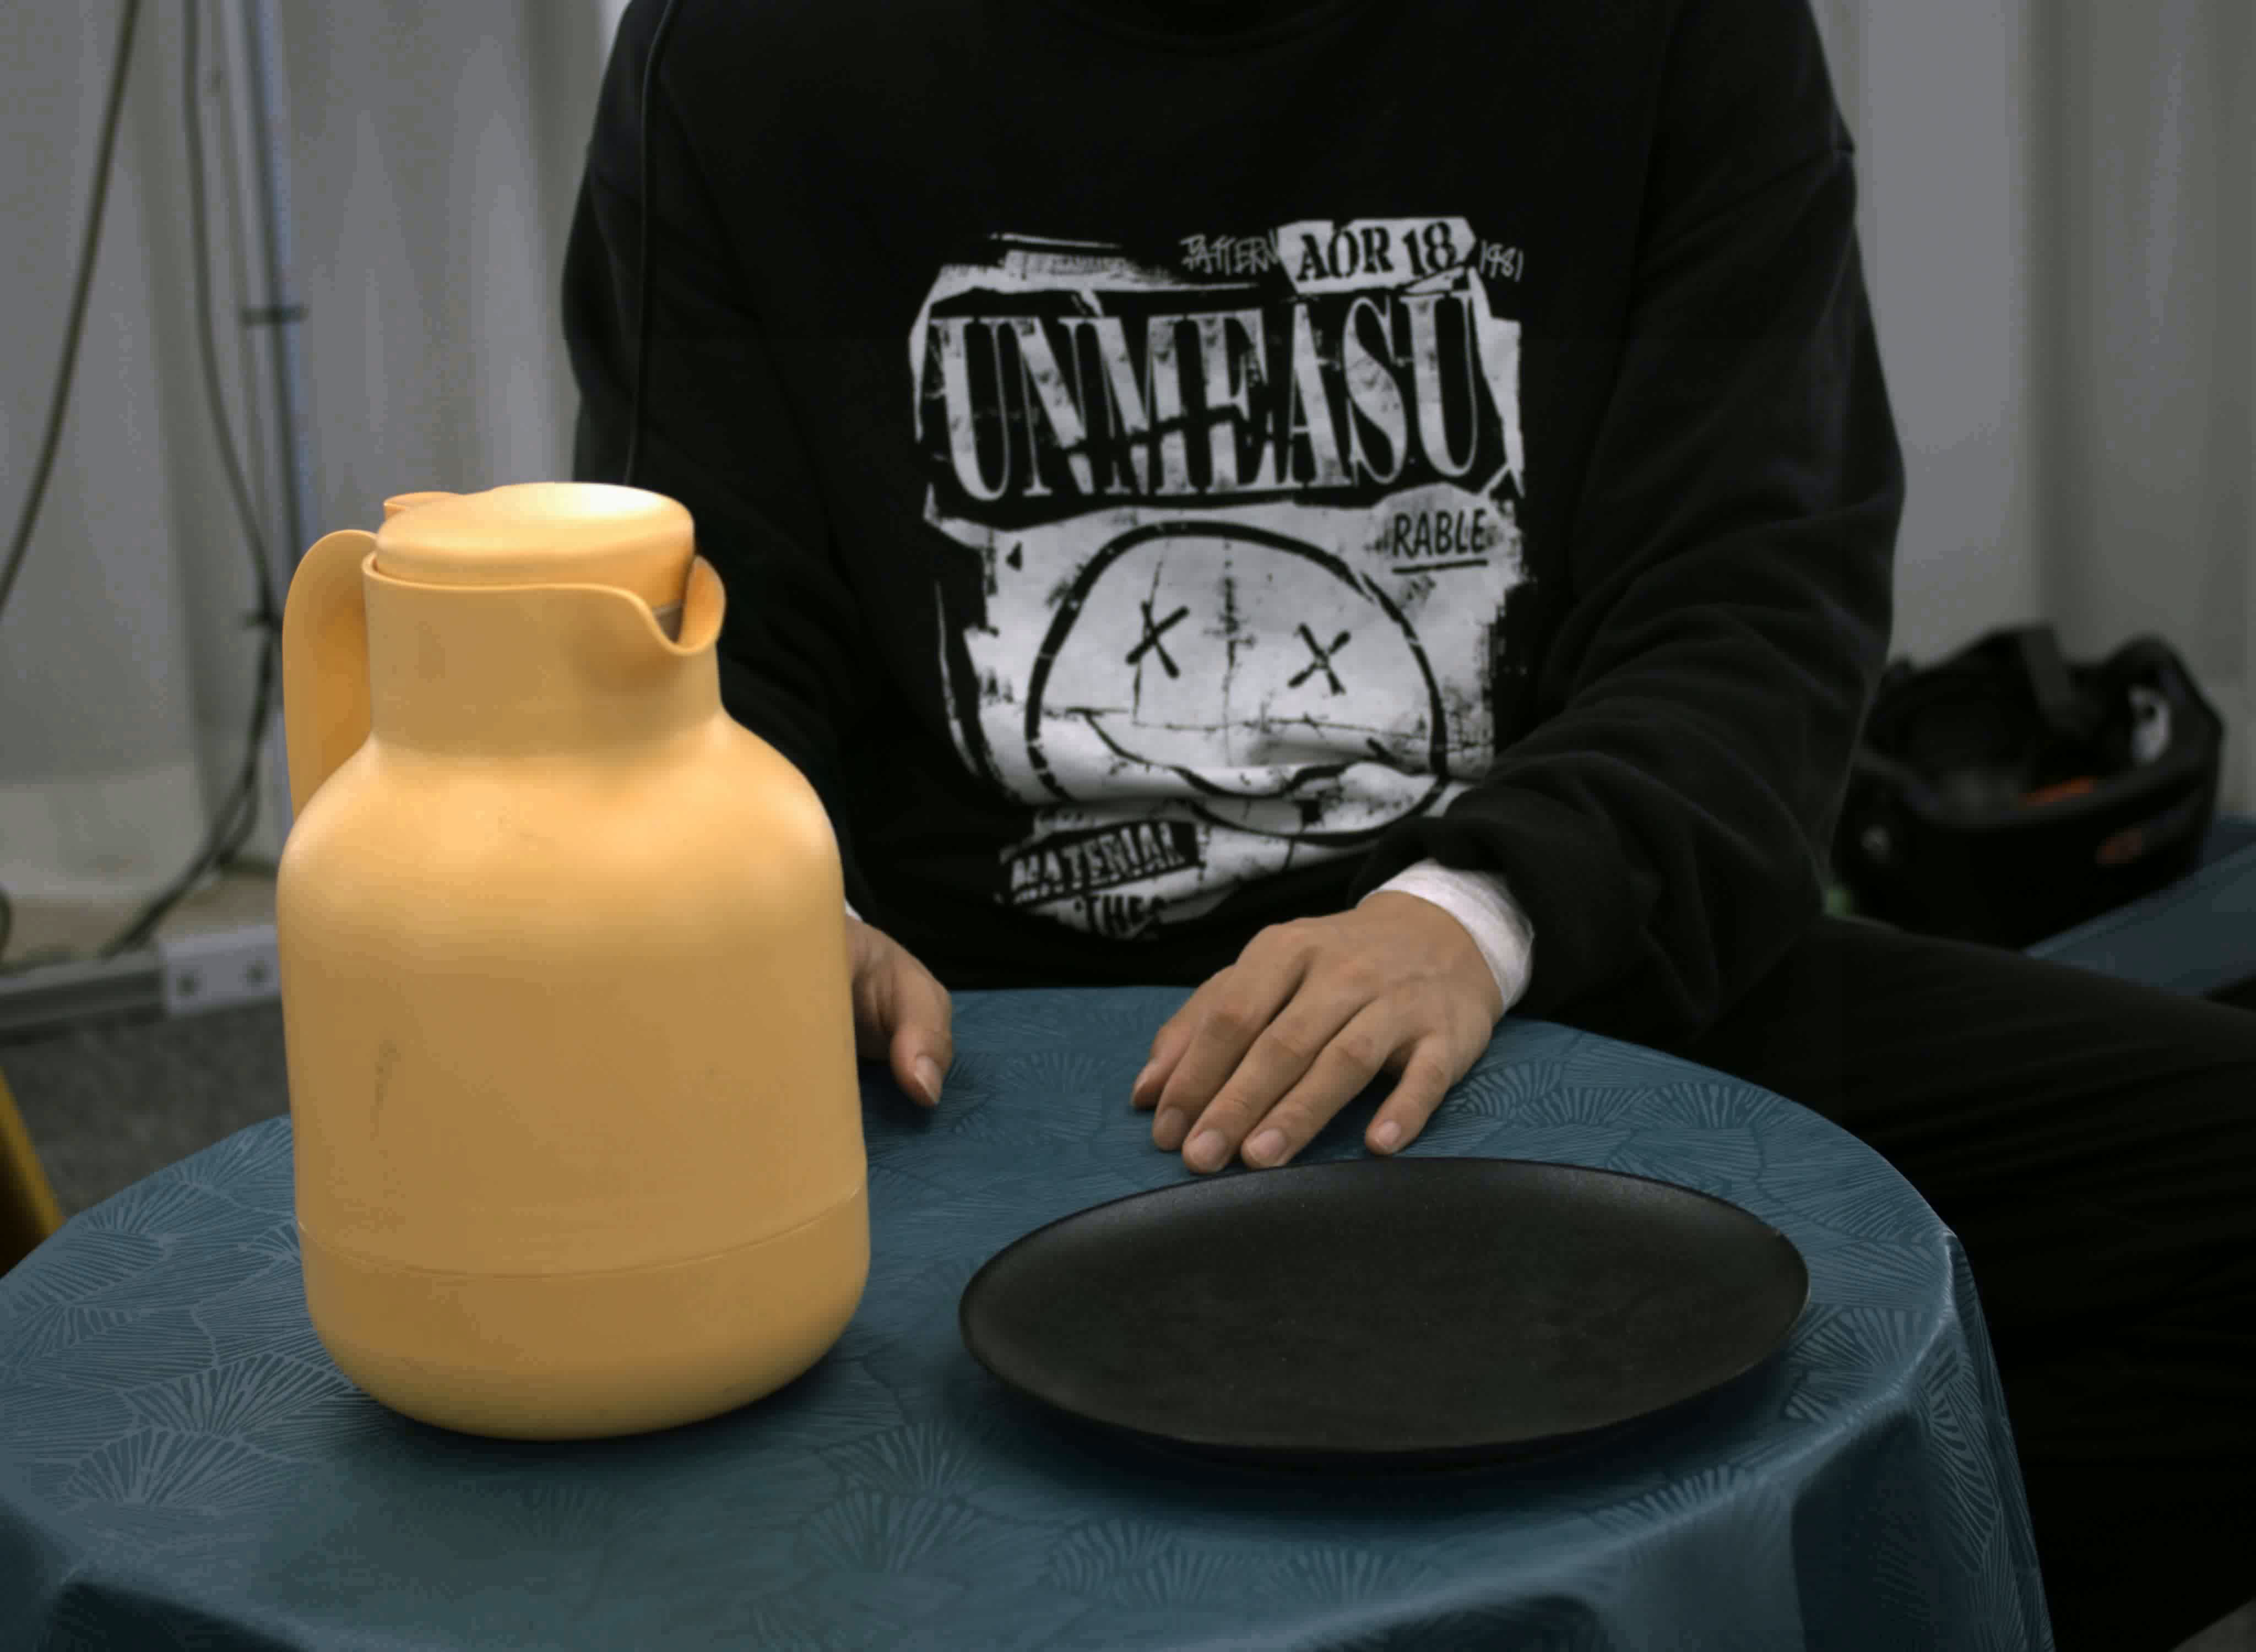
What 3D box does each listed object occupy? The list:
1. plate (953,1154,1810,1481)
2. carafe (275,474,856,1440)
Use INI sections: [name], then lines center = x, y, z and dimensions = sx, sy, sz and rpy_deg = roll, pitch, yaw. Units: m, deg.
[plate]
center = 0.072, 0.142, 1.552
dimensions = 0.243, 0.023, 0.246
rpy_deg = -3, 15, 0
[carafe]
center = -0.171, 0.029, 1.565
dimensions = 0.163, 0.259, 0.204
rpy_deg = -10, 17, -37
